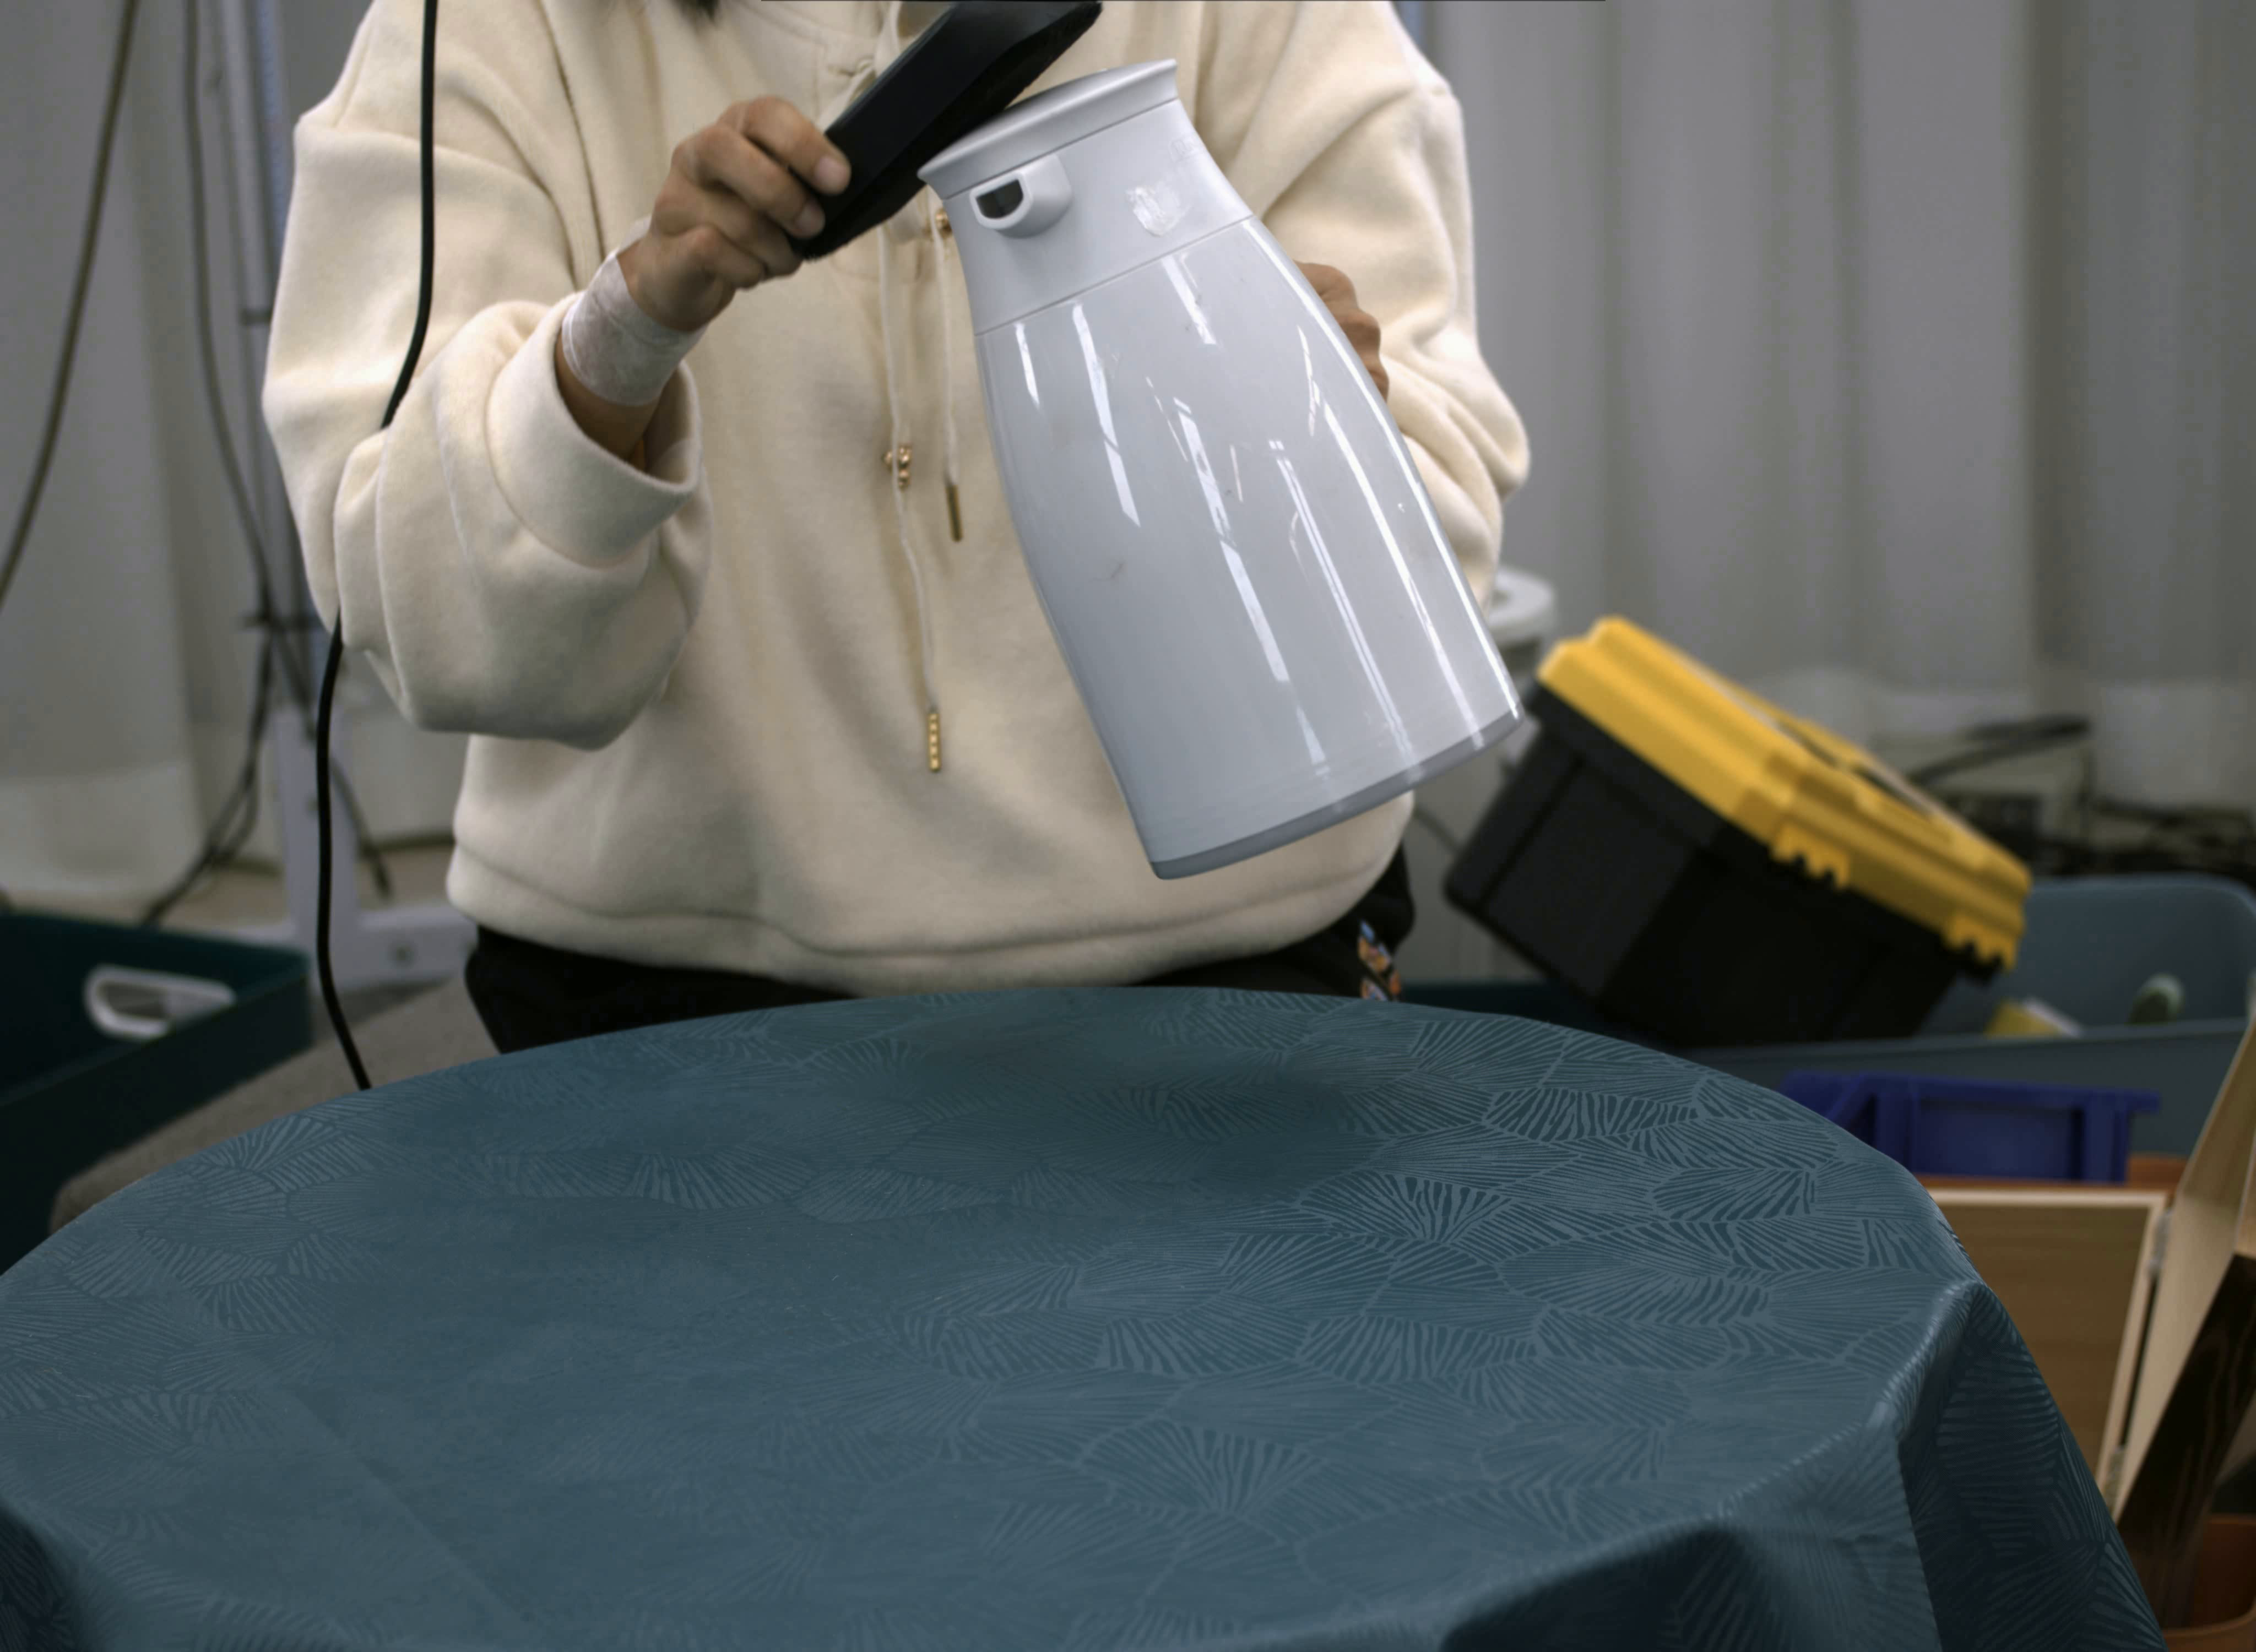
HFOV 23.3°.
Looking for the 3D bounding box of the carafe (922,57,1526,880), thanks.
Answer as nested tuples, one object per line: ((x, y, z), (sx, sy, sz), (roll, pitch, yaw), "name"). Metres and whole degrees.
((0.026, -0.126, 1.788), (0.132, 0.248, 0.168), (-22, 5, 22), "carafe")

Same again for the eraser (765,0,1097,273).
((-0.064, -0.229, 1.772), (0.125, 0.030, 0.054), (-40, -4, 41), "eraser")
